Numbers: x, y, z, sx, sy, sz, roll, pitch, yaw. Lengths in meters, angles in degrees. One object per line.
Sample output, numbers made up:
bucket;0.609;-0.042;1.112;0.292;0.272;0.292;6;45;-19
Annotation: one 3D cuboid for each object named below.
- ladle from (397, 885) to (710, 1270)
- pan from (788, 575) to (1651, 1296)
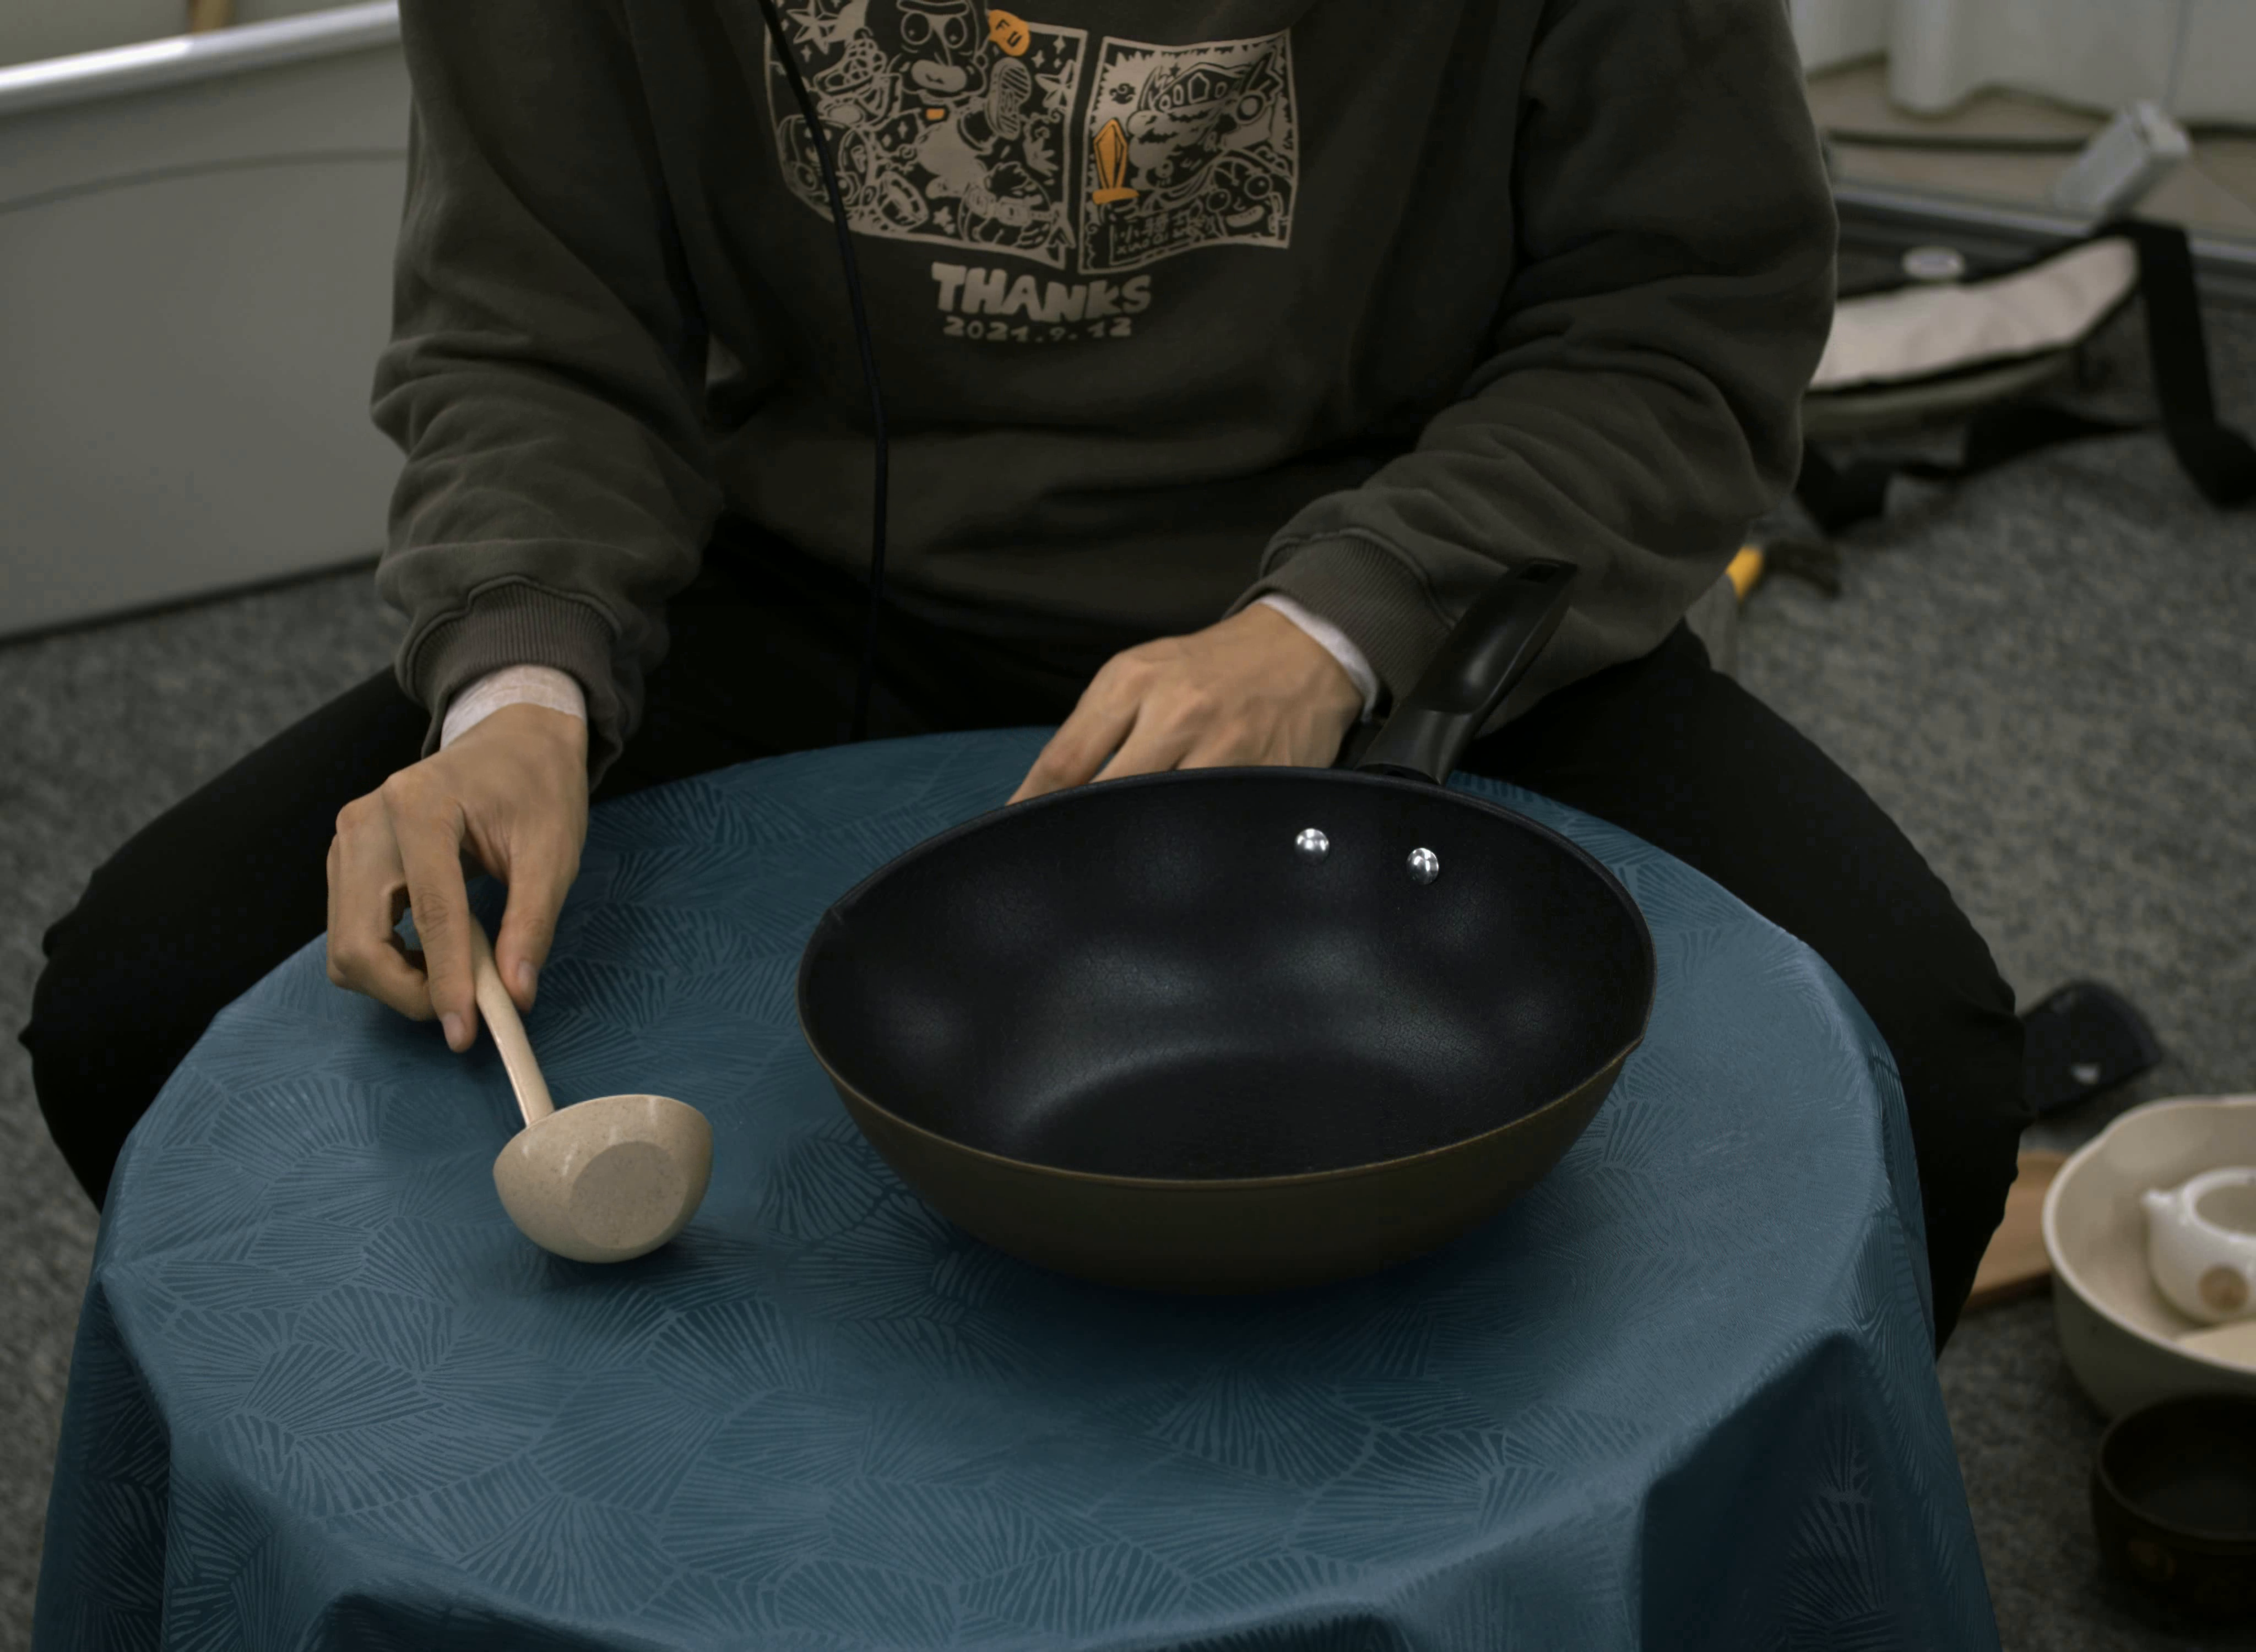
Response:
ladle;-0.206;0.059;1.902;0.072;0.072;0.257;-4;33;-22
pan;0.068;0.038;1.925;0.286;0.086;0.471;9;29;22
